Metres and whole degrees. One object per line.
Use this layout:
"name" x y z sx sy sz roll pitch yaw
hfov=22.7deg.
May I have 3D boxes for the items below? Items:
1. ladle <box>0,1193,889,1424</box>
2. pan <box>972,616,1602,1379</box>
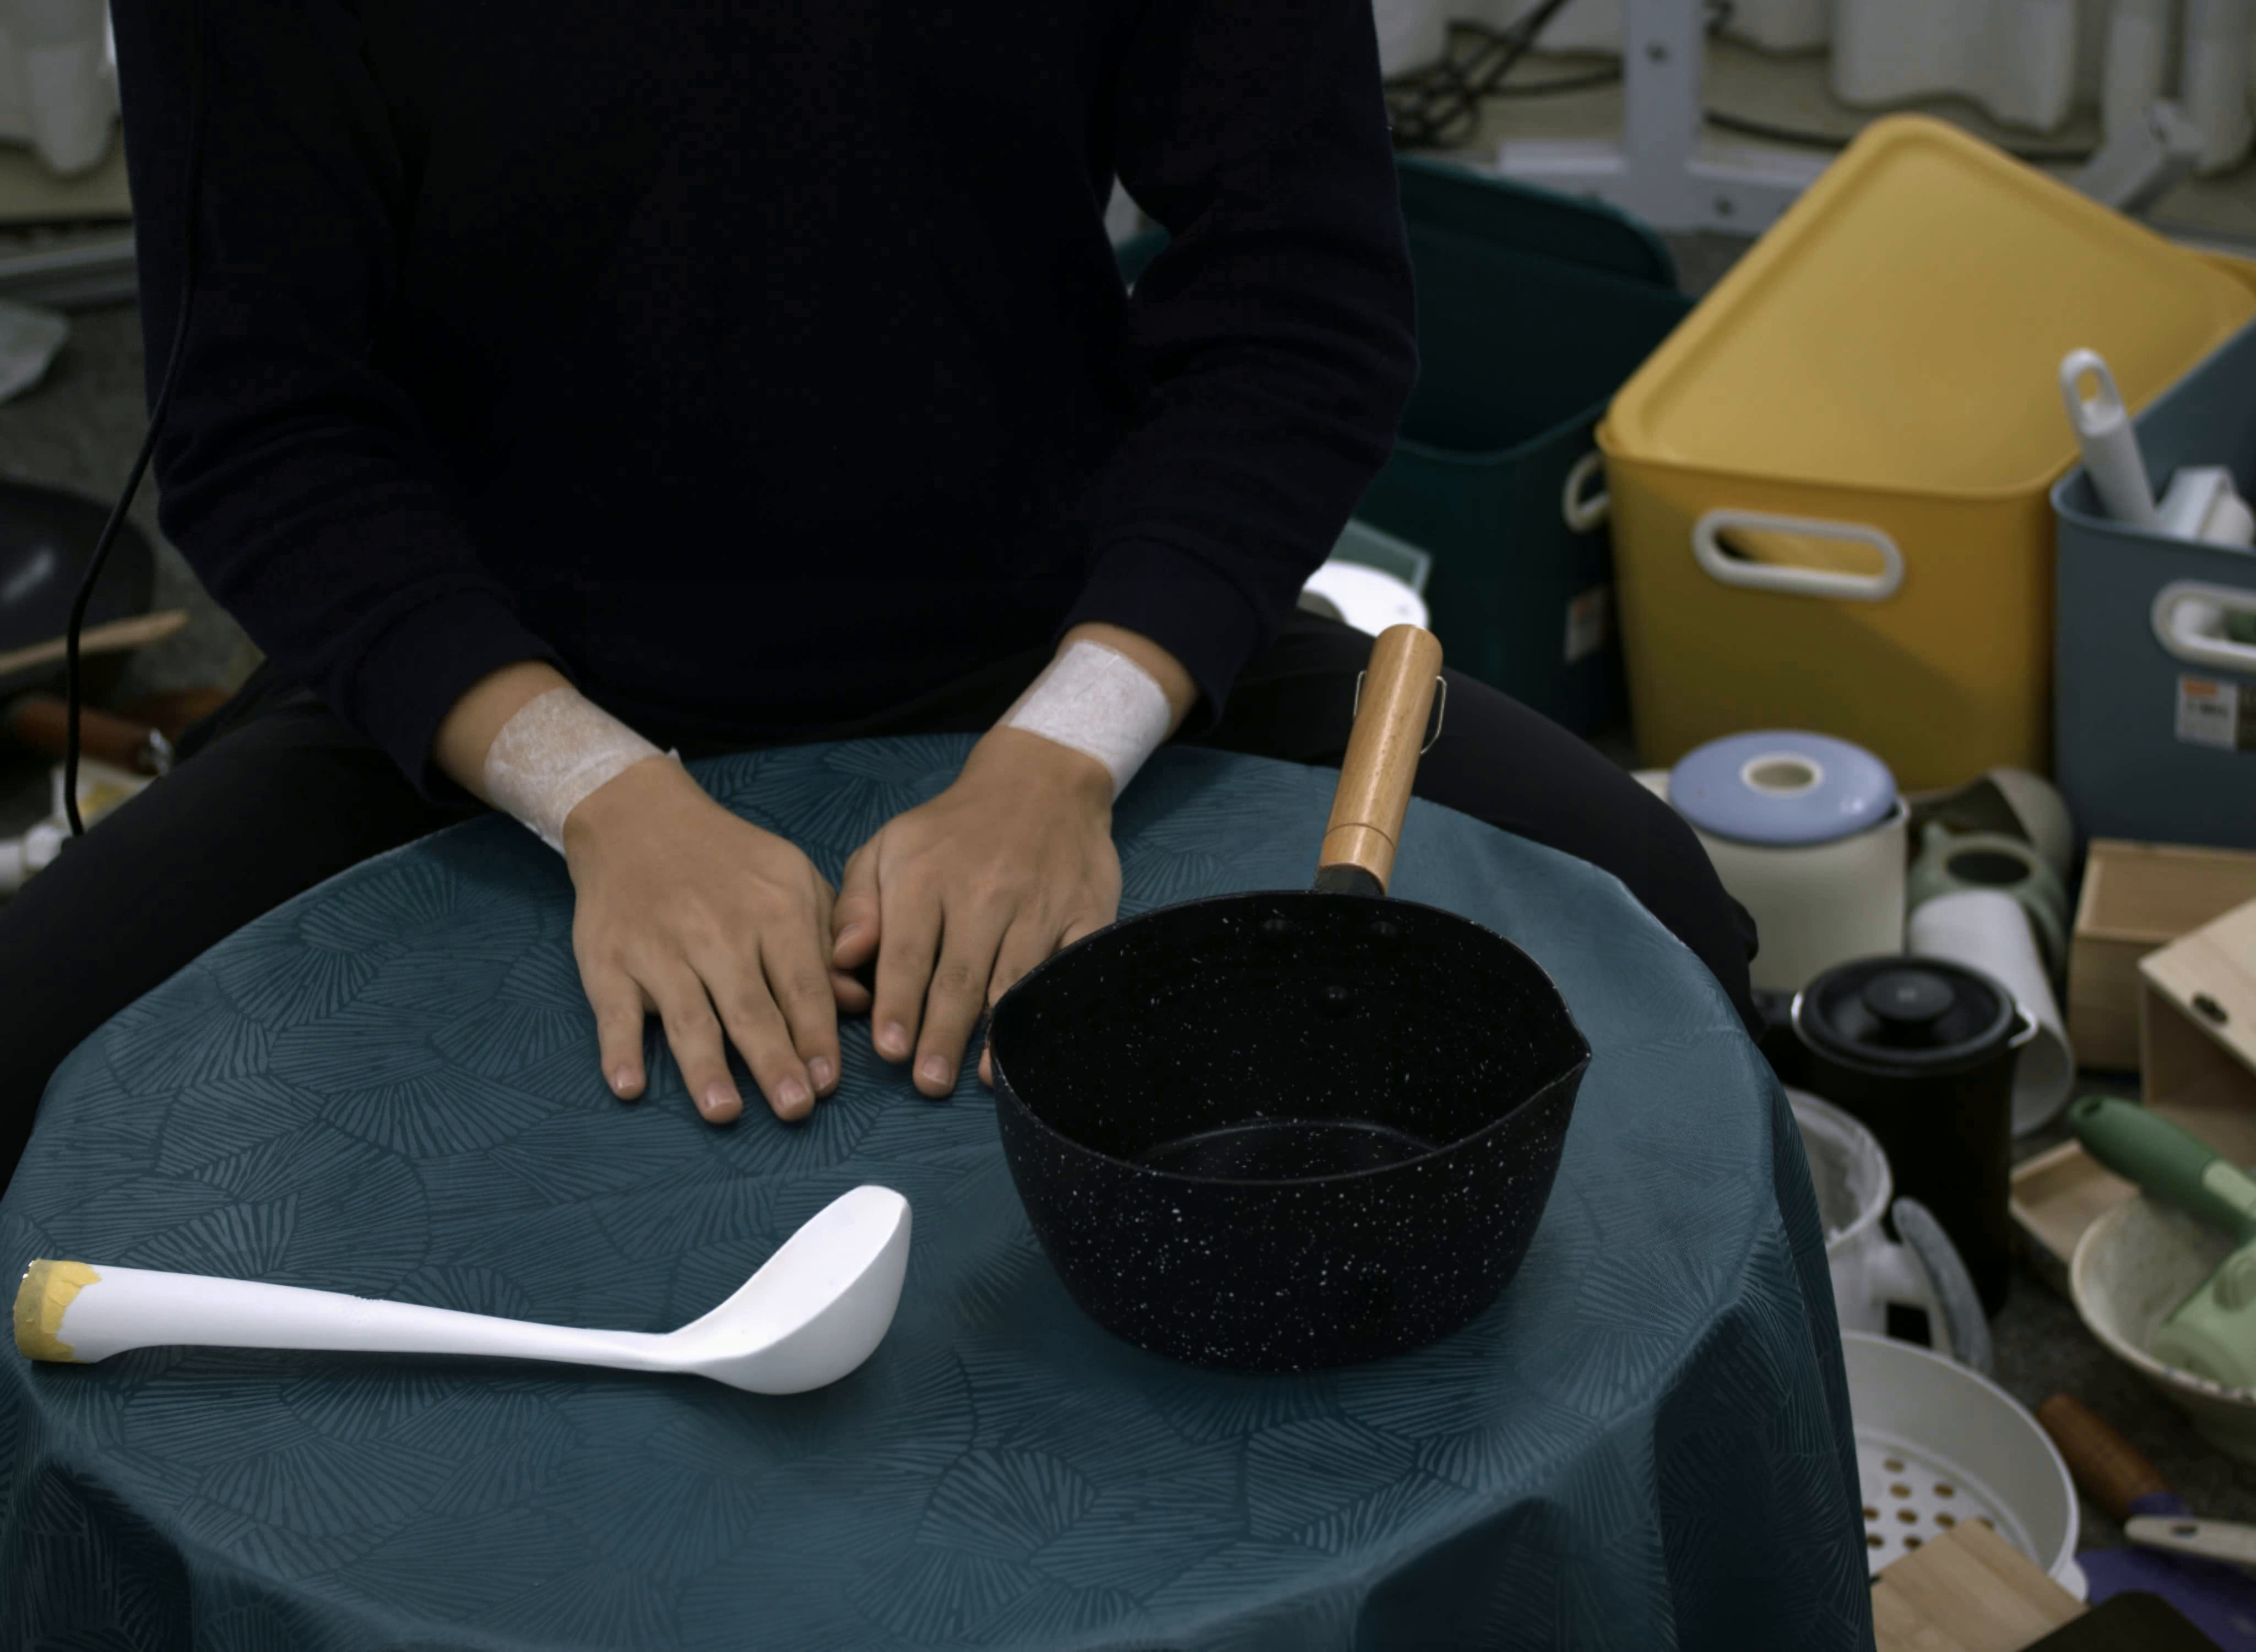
"ladle" -0.218 0.153 1.756 0.291 0.070 0.091 0 13 5
"pan" 0.065 0.053 1.871 0.206 0.107 0.349 2 29 11
